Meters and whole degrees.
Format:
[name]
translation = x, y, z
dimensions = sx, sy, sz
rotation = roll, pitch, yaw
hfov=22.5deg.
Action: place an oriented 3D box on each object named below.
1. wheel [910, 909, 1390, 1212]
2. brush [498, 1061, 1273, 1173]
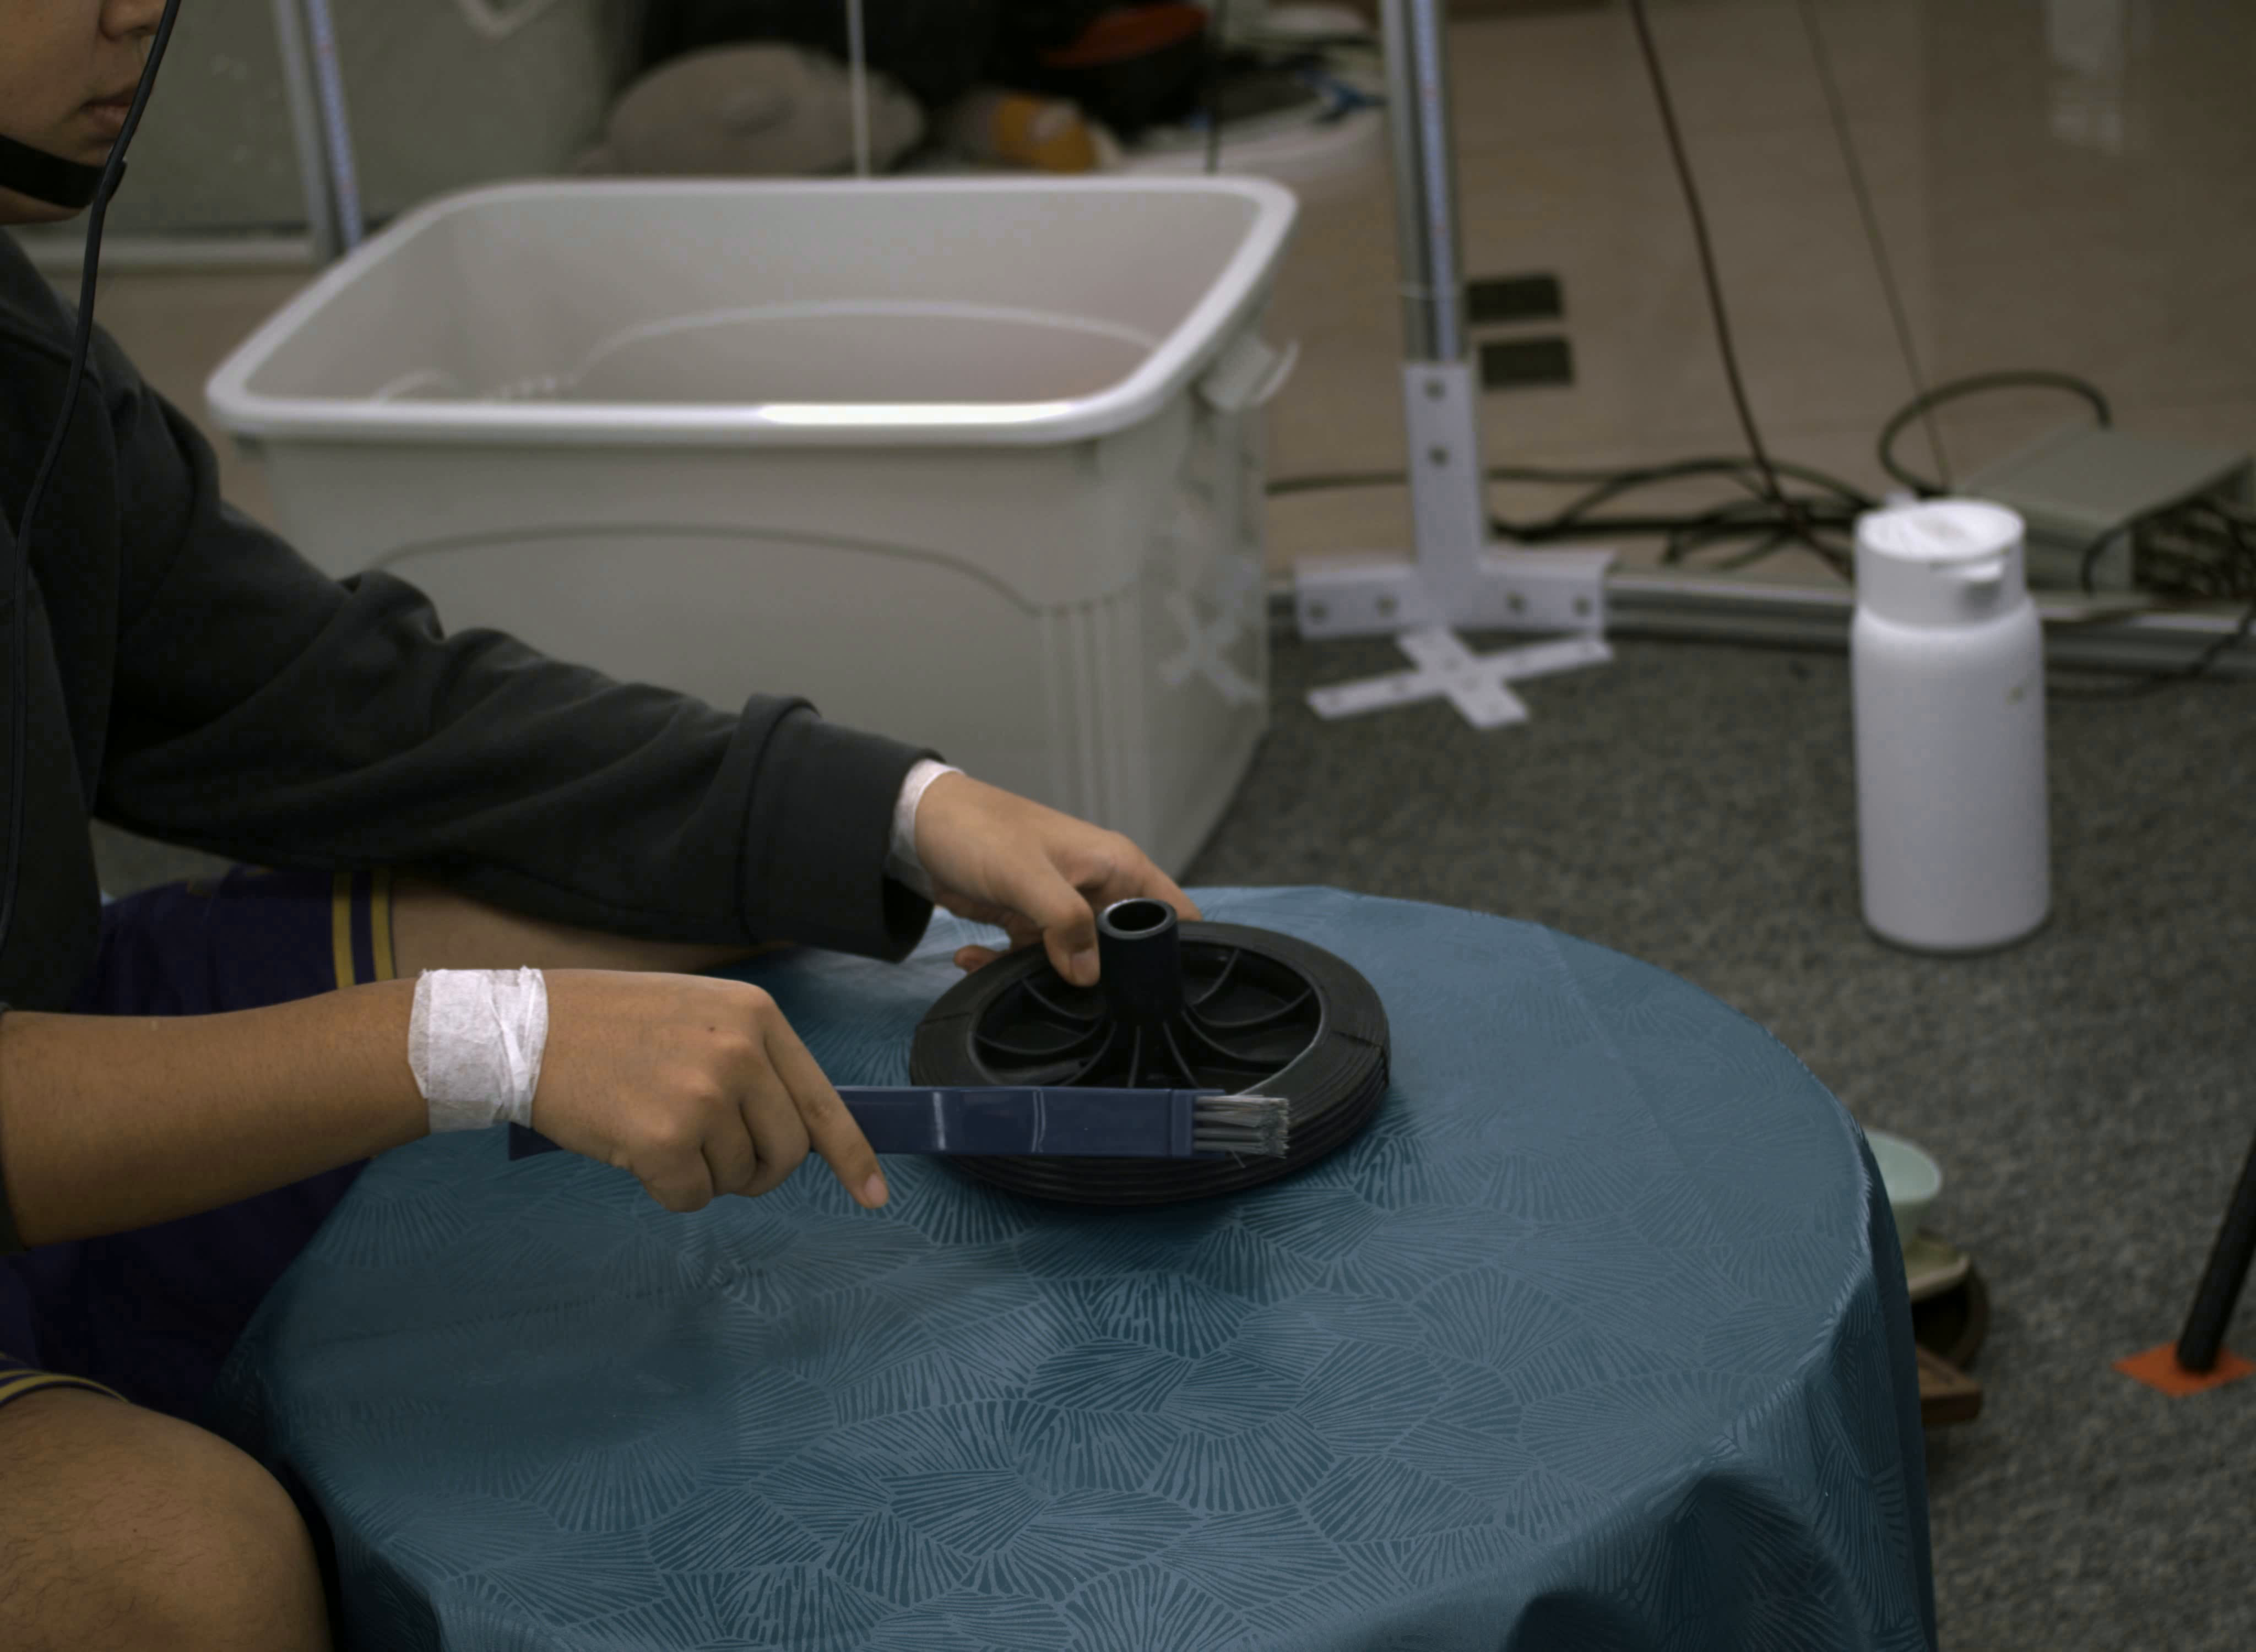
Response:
[wheel]
translation = 0.006, 0.074, 2.192
dimensions = 0.188, 0.080, 0.185
rotation = -27, 35, -33
[brush]
translation = -0.090, 0.106, 2.063
dimensions = 0.273, 0.033, 0.095
rotation = 2, 2, -15
